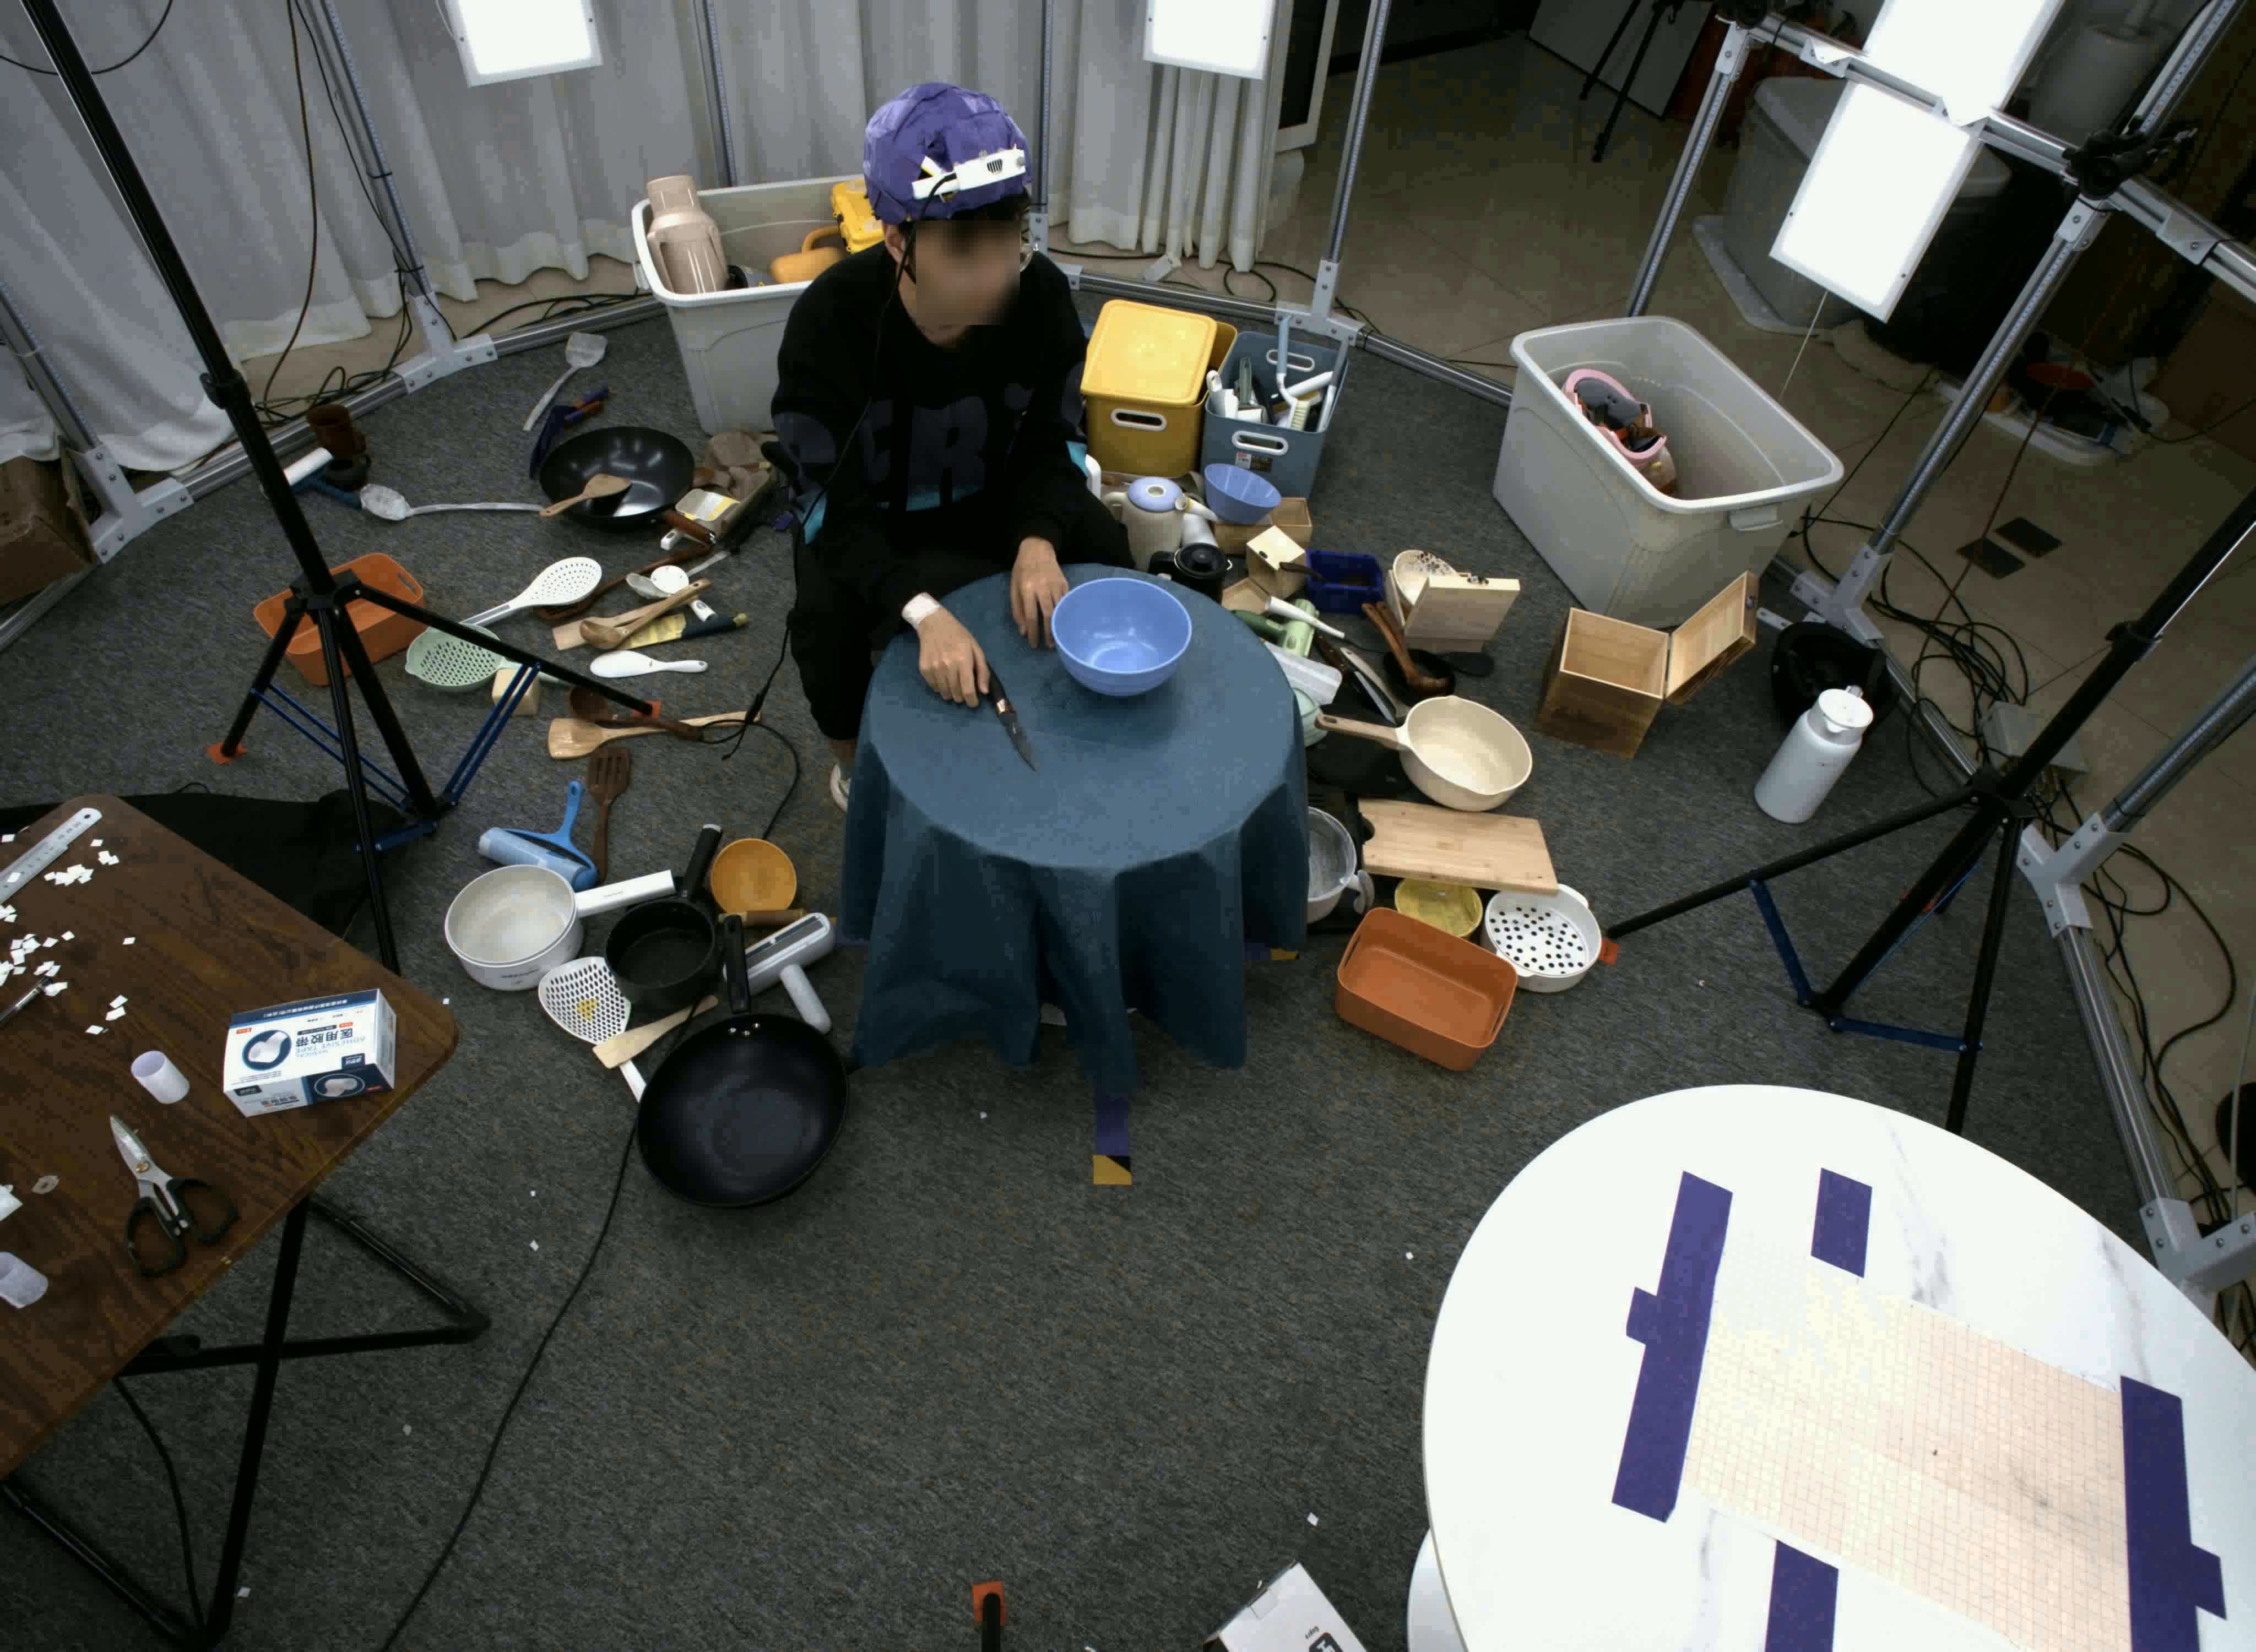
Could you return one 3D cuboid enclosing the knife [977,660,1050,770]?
[{"bbox_3d":[-0.161,-0.156,1.786,0.026,0.017,0.230,-15,53,-23],"label":"knife"}]

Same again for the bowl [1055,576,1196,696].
[{"bbox_3d":[-0.007,-0.254,1.824,0.196,0.093,0.201,3,51,-4],"label":"bowl"}]
